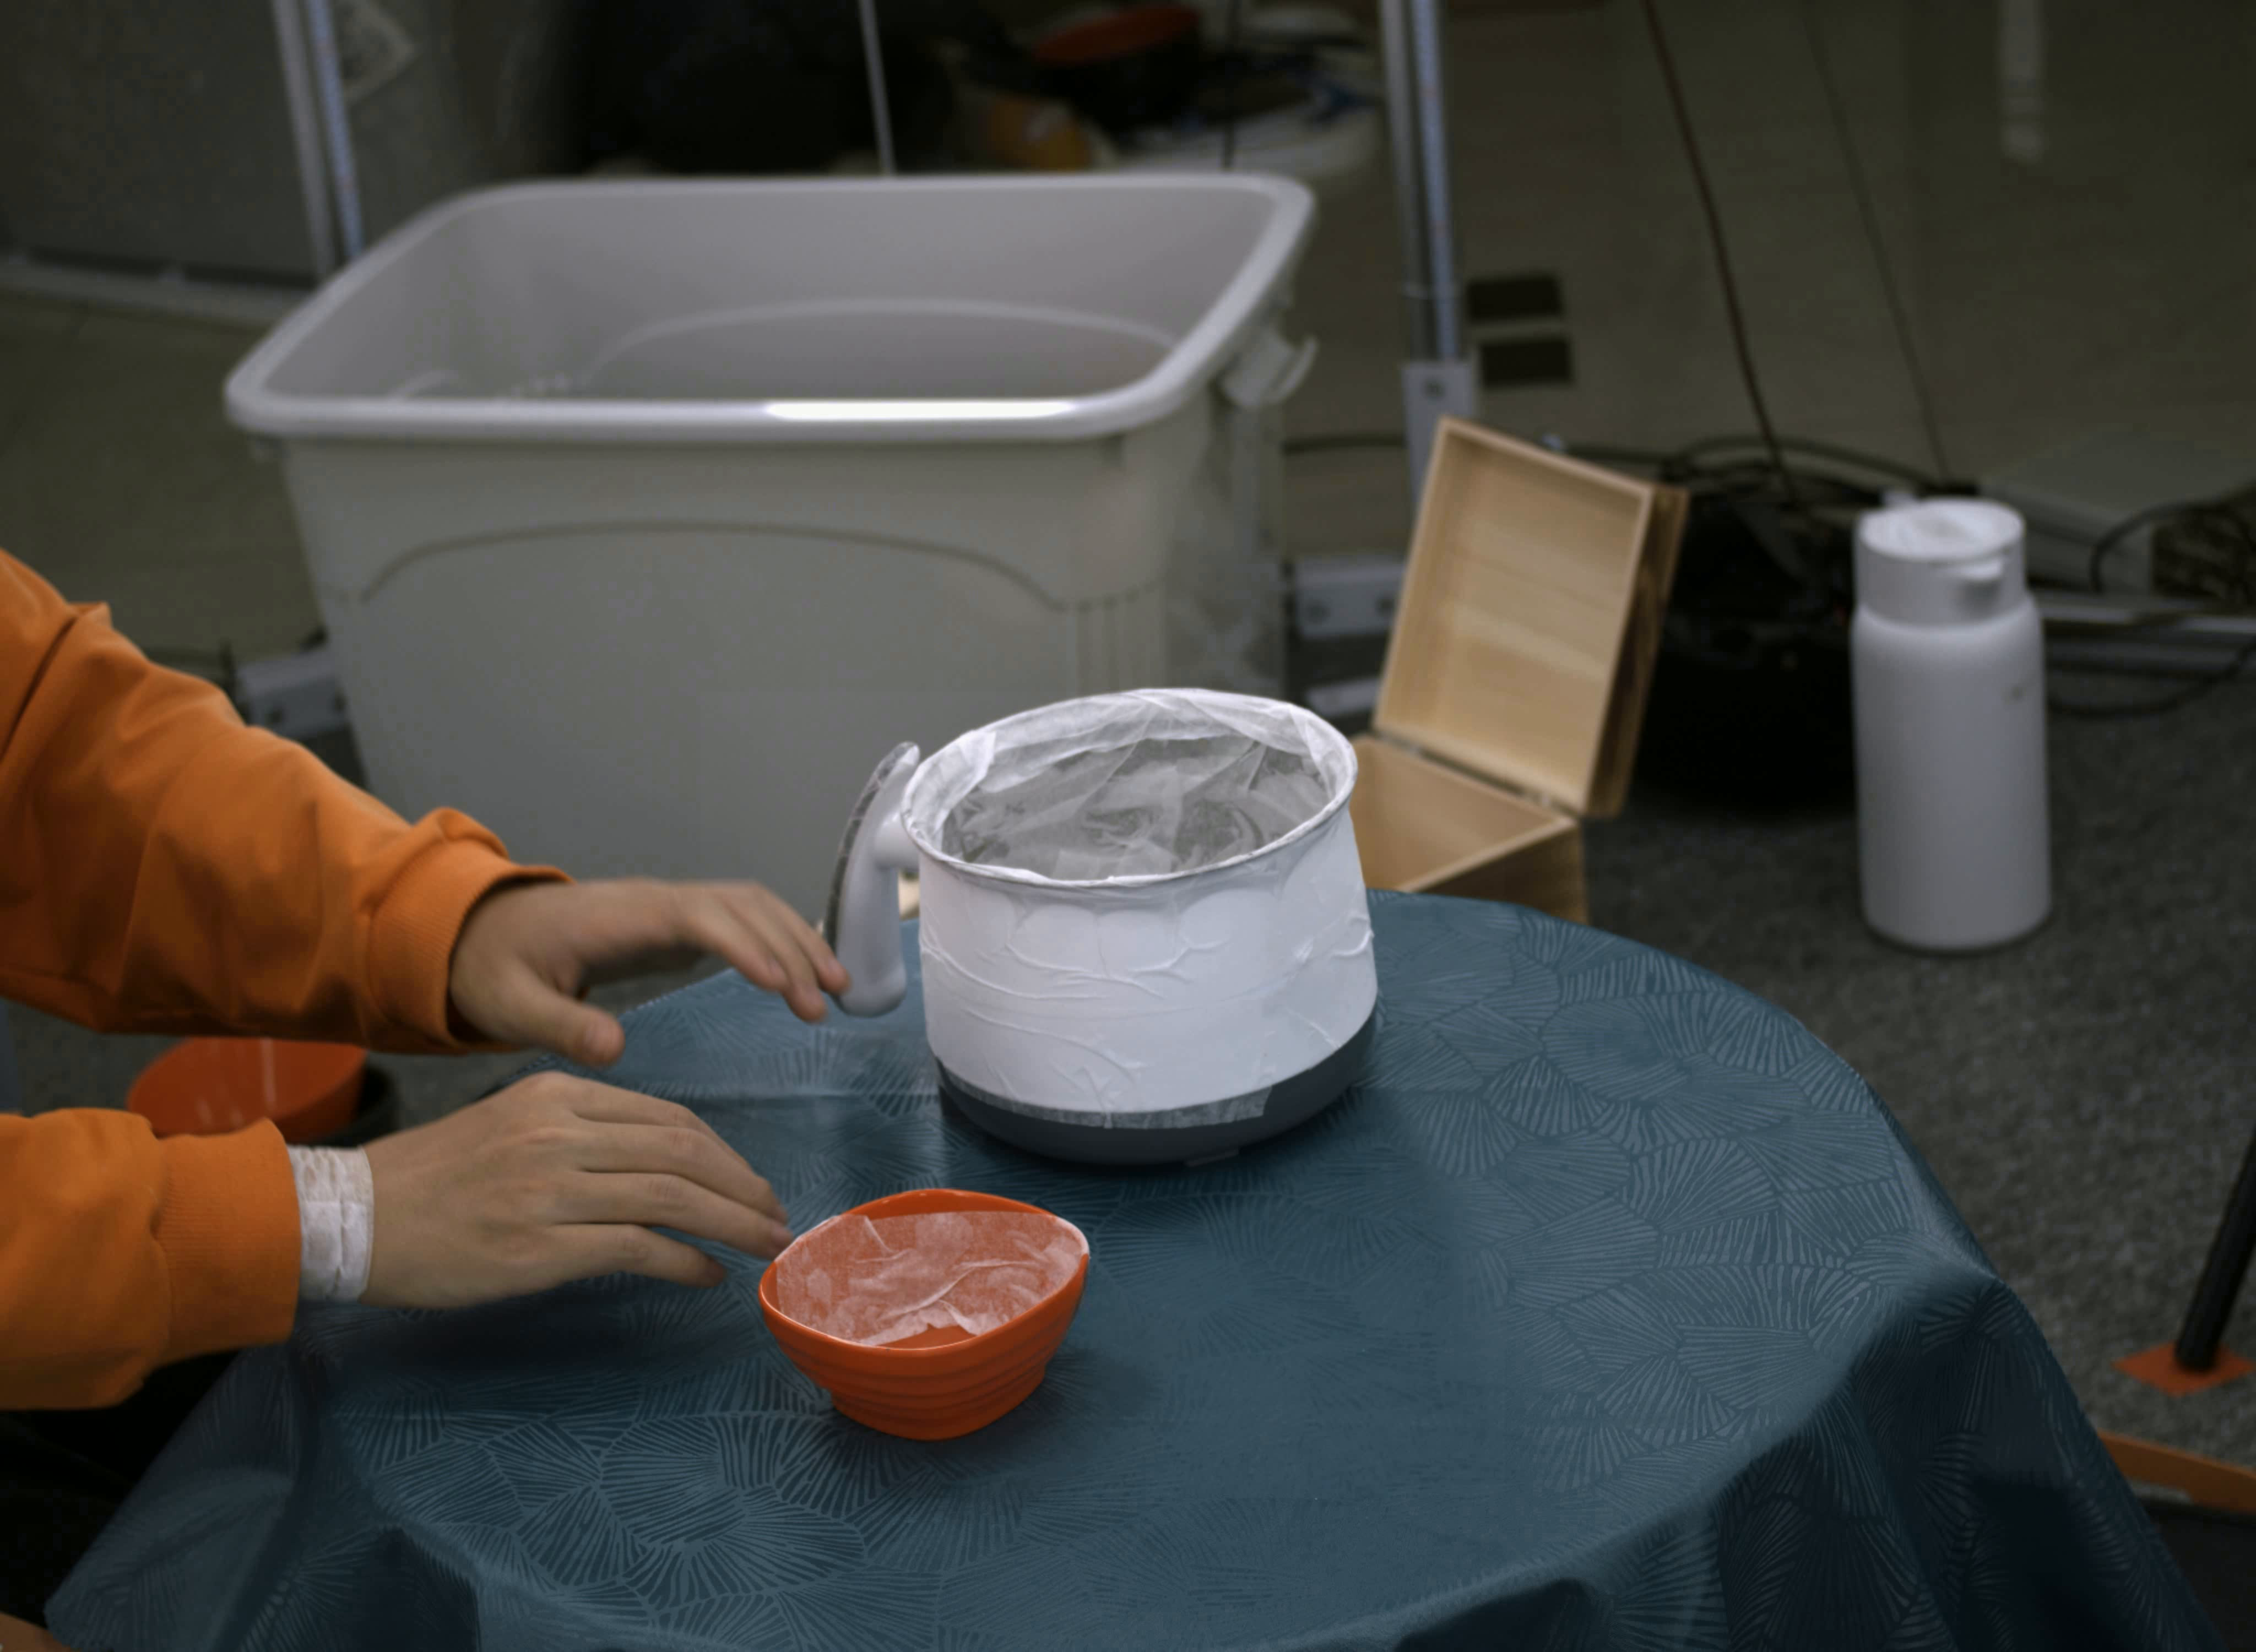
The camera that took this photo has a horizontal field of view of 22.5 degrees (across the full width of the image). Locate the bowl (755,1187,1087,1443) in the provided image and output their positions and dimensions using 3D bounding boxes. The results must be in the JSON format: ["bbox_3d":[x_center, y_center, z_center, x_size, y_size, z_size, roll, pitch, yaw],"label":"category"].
[{"bbox_3d":[-0.071,0.178,2.019,0.119,0.052,0.117,-5,26,3],"label":"bowl"}]

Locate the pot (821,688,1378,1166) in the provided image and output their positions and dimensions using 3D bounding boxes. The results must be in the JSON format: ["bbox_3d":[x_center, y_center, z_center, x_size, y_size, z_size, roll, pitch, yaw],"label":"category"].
[{"bbox_3d":[-0.018,0.038,2.203,0.233,0.139,0.176,7,28,26],"label":"pot"}]
